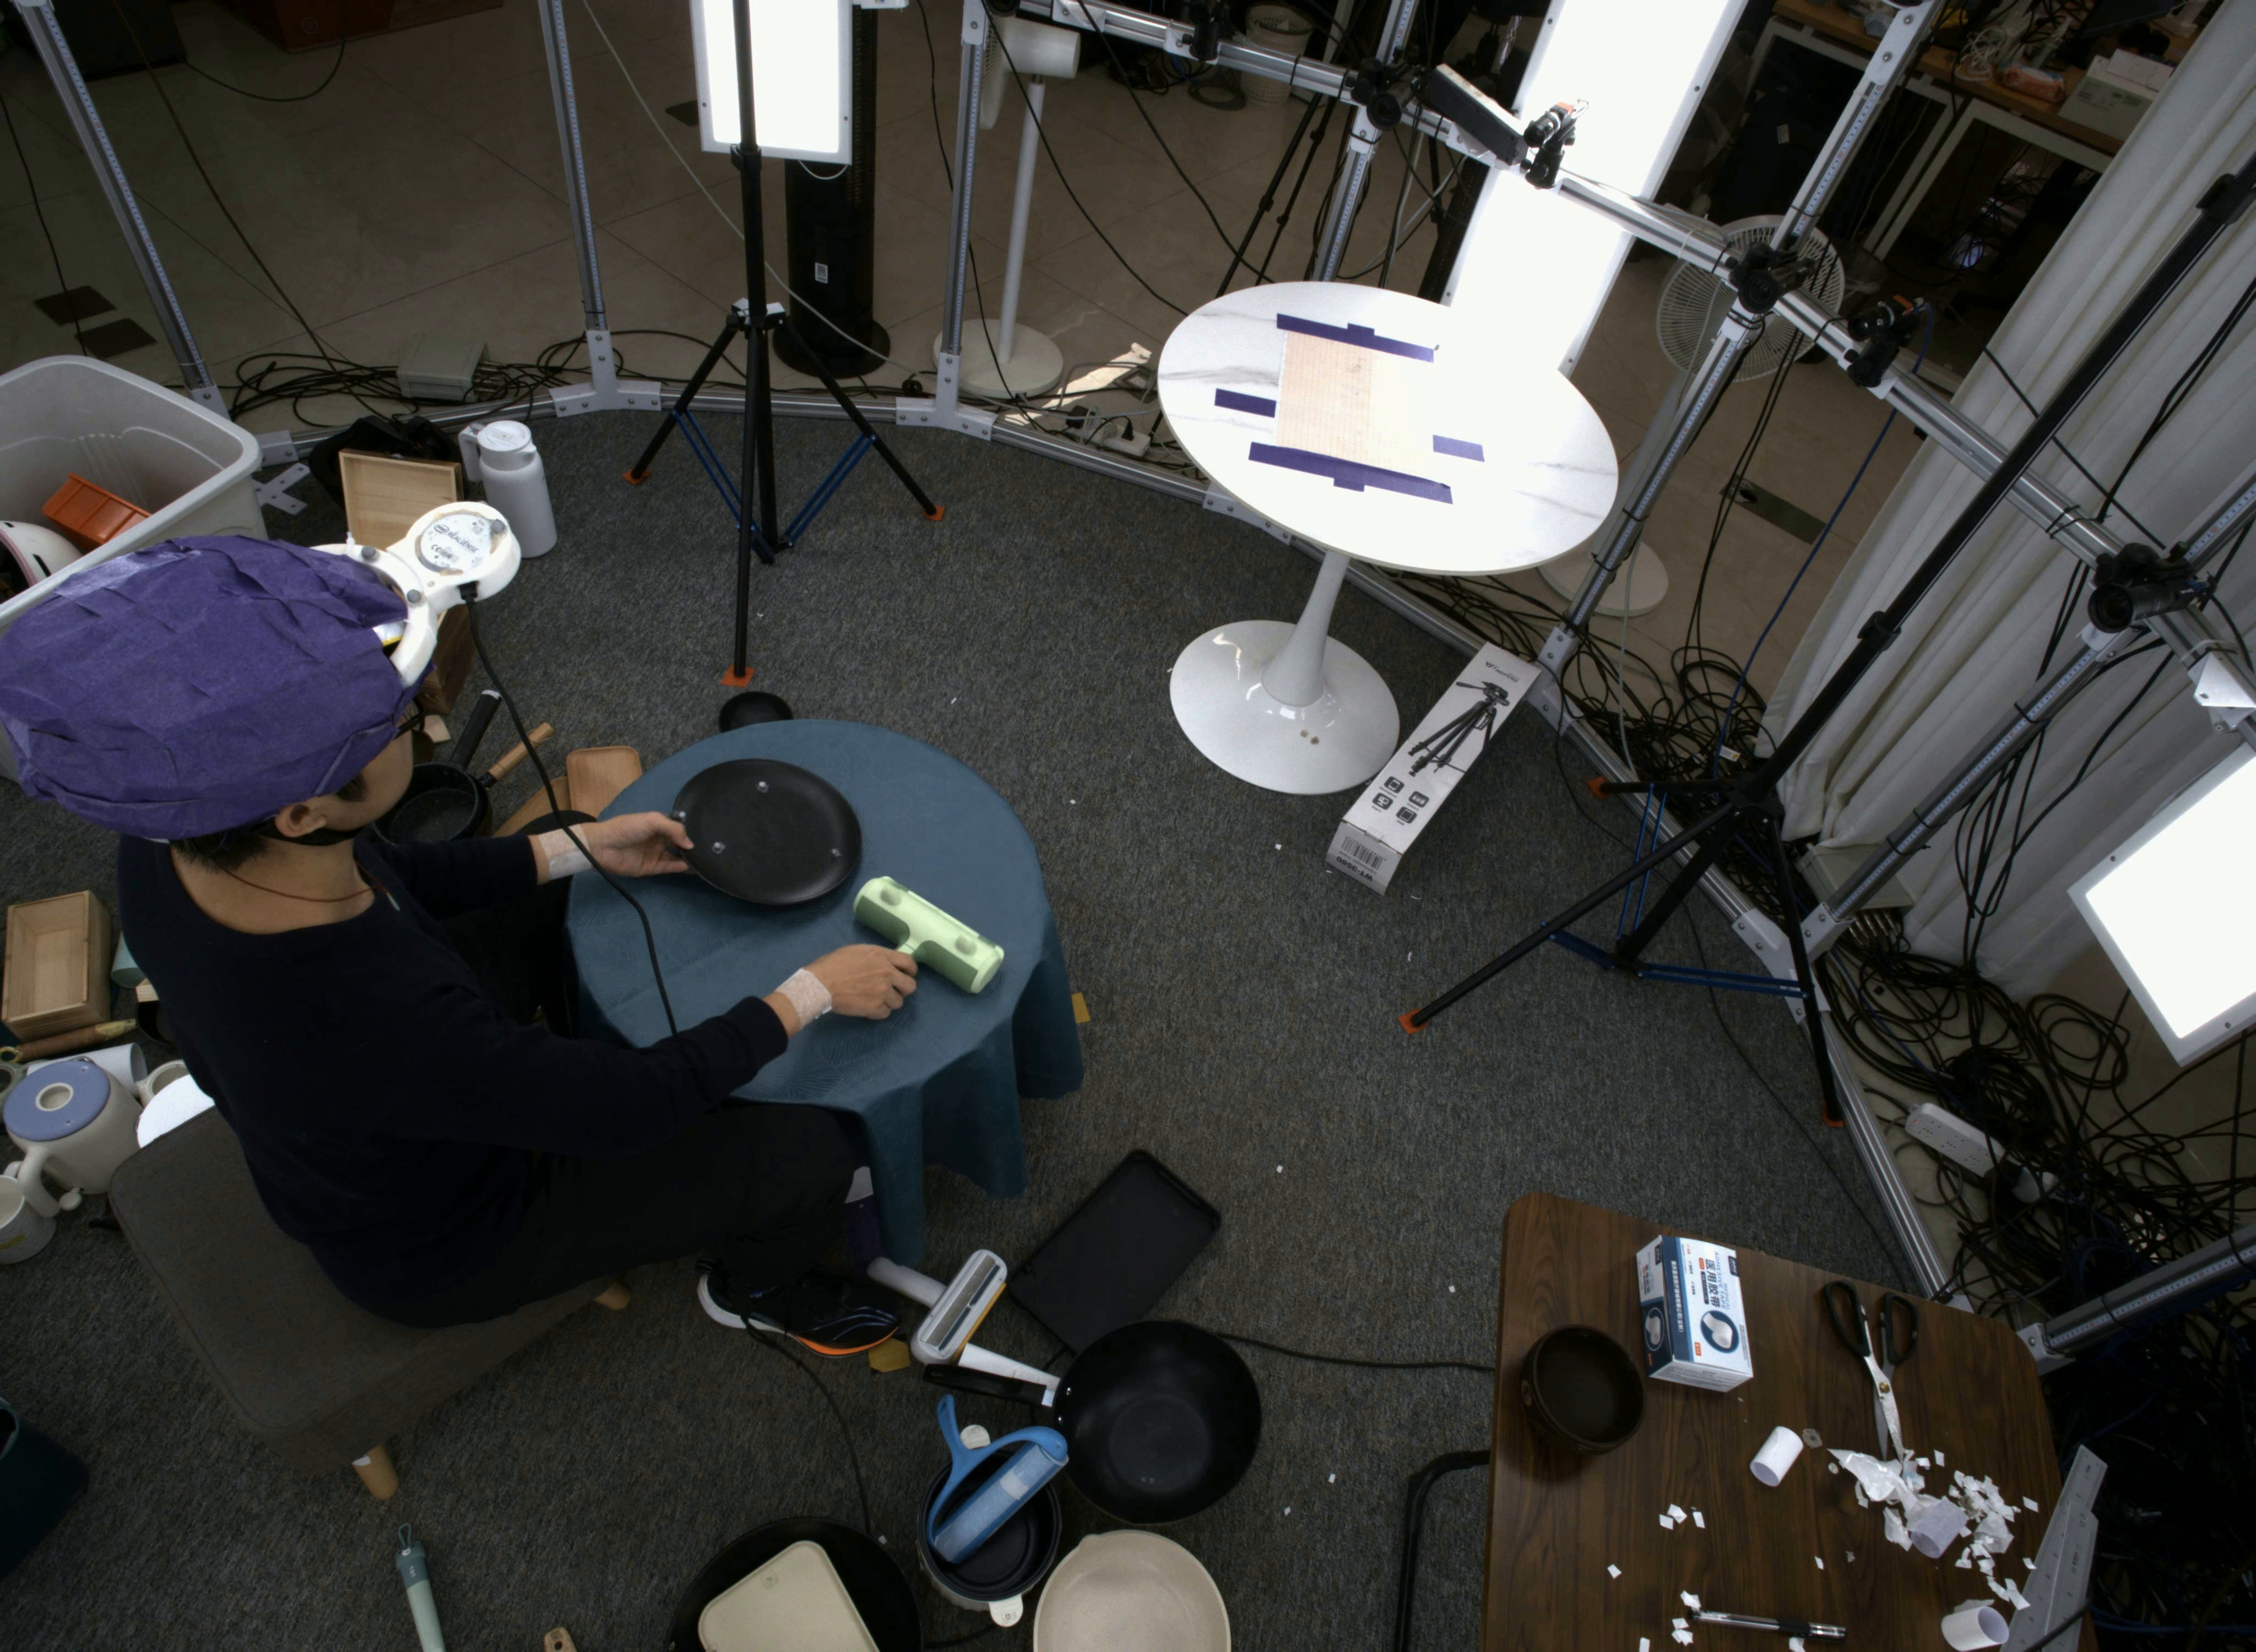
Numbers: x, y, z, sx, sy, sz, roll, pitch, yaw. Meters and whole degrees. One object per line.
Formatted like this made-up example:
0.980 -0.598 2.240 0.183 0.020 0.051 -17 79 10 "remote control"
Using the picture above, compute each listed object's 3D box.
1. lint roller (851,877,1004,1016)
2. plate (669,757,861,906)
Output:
-0.274 0.151 1.575 0.195 0.084 0.183 30 37 9 "lint roller"
-0.464 0.007 1.660 0.246 0.024 0.239 17 46 -16 "plate"
